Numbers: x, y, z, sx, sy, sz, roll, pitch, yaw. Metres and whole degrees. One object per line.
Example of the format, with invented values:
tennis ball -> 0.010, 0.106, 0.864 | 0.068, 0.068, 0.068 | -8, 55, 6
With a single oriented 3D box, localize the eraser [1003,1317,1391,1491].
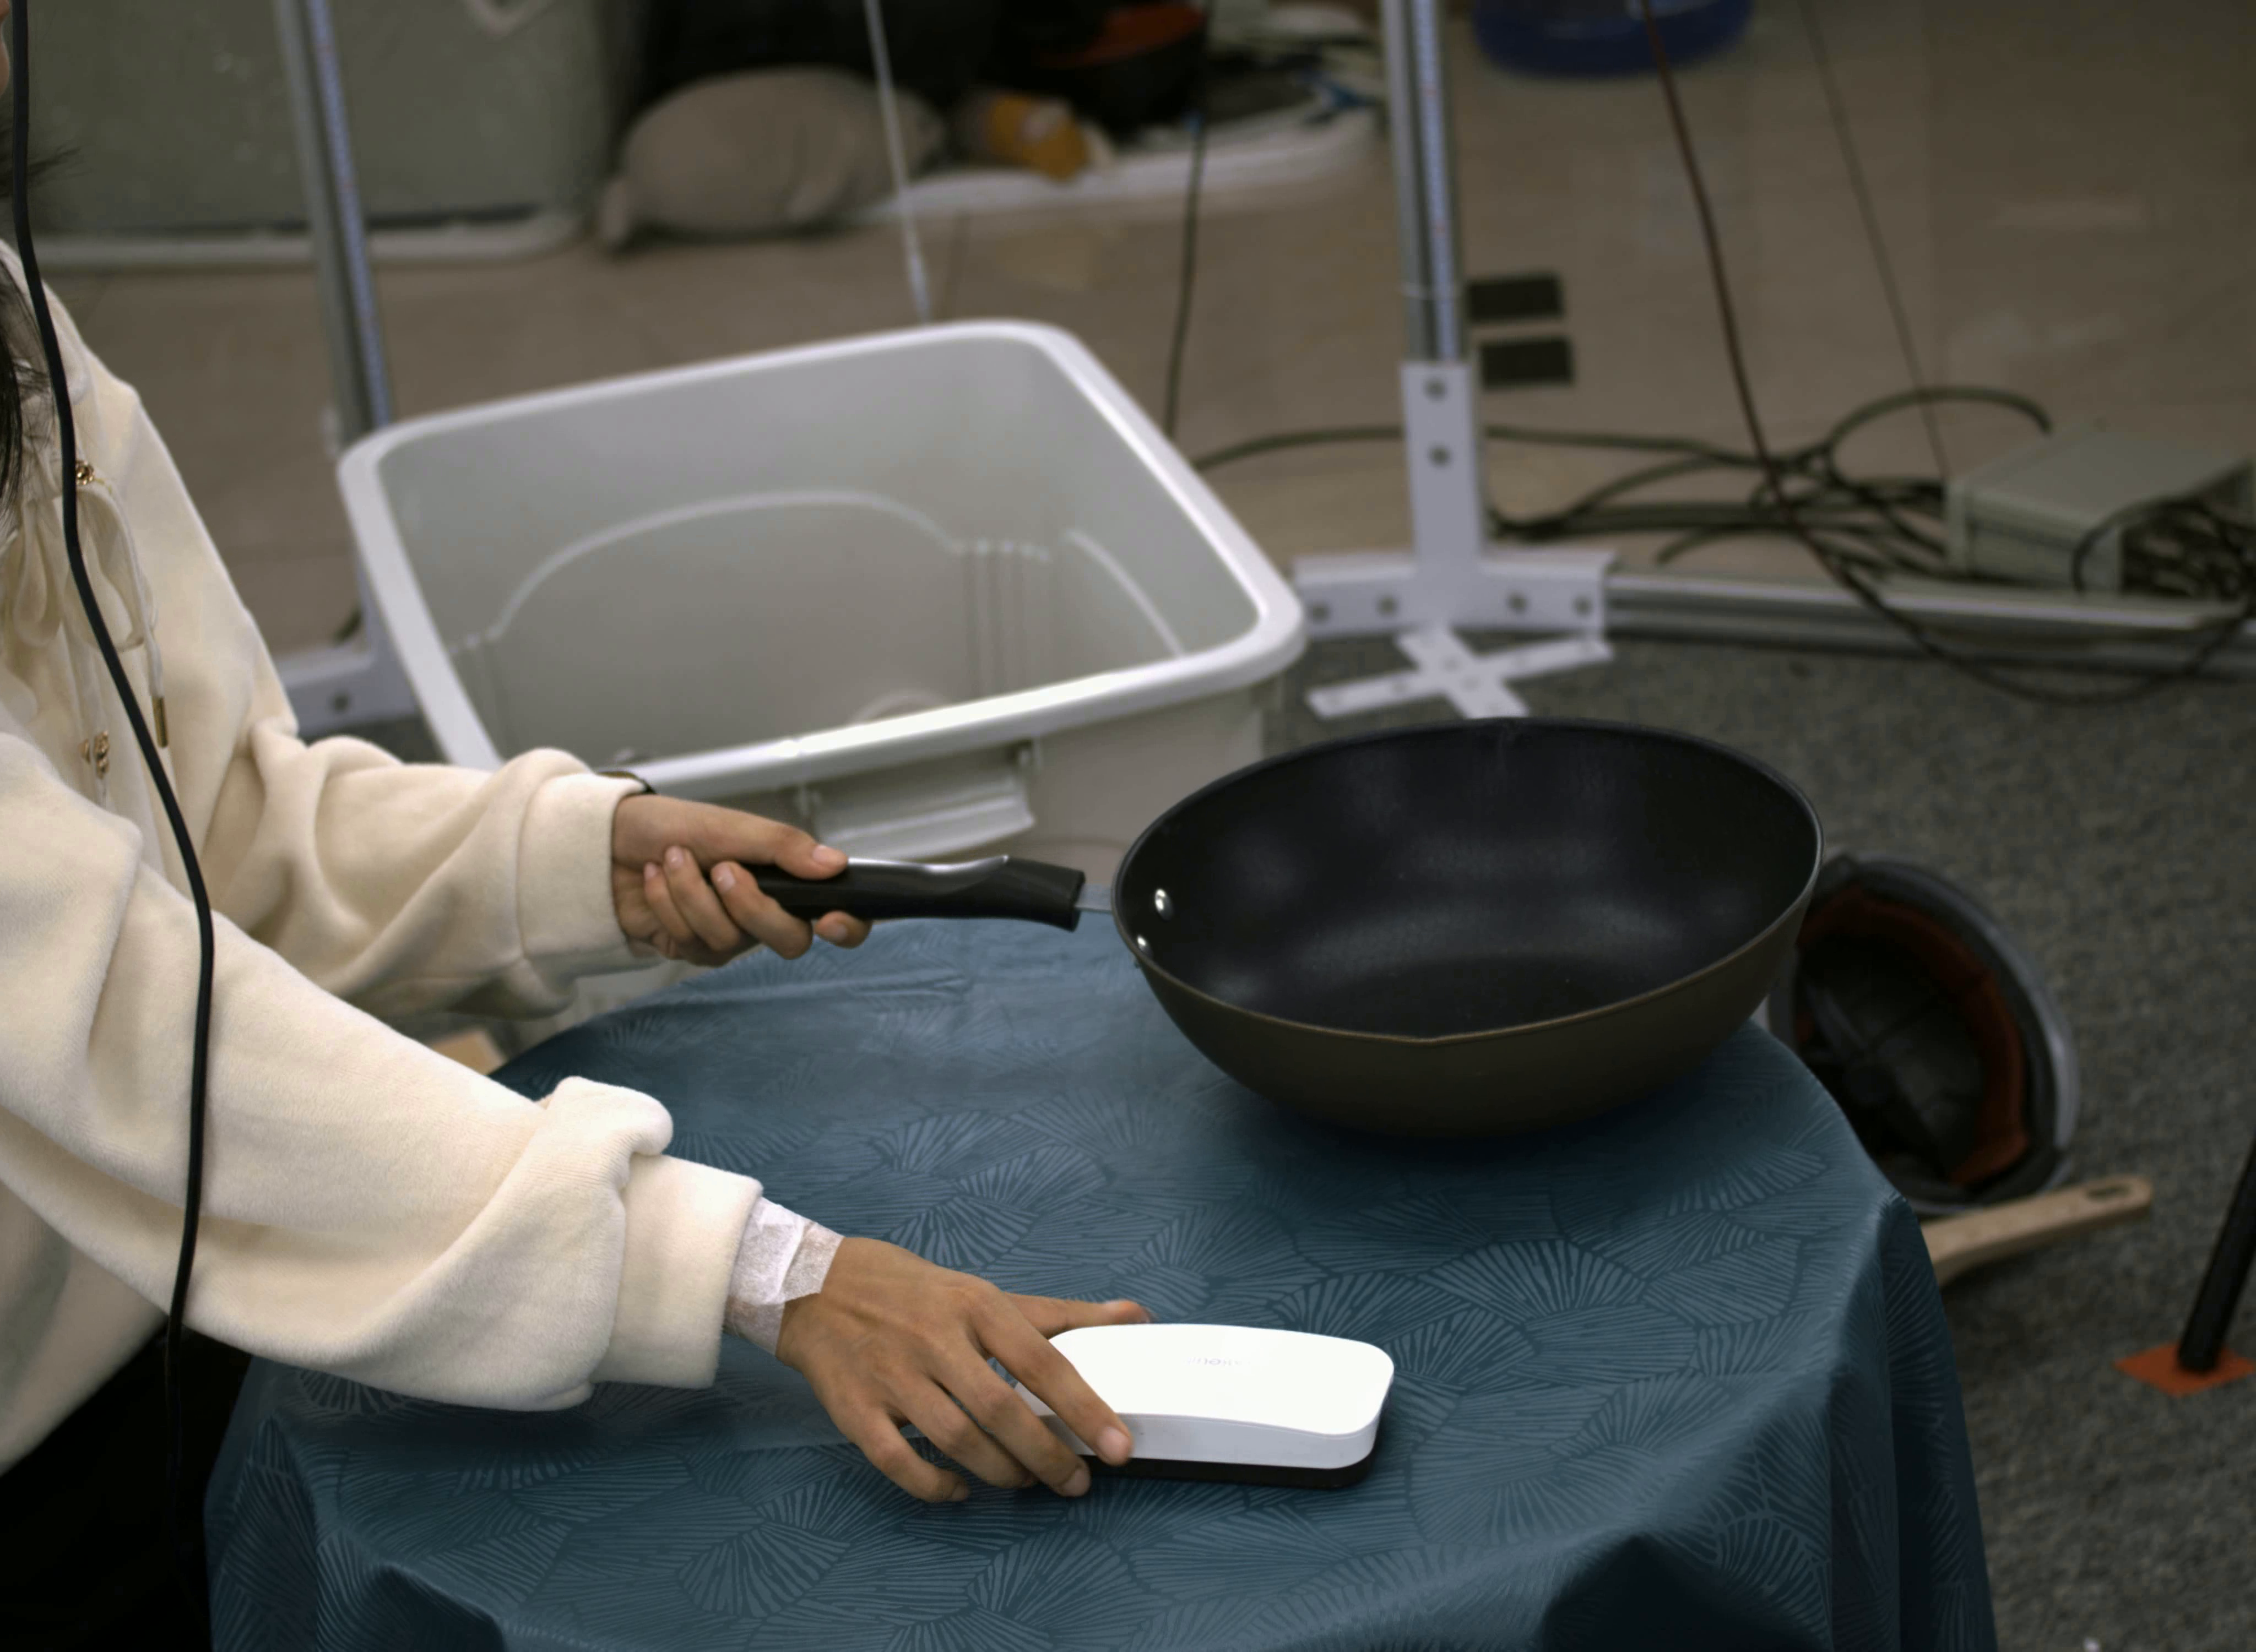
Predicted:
eraser -> 0.025, 0.201, 1.973 | 0.131, 0.035, 0.062 | 2, 24, 16

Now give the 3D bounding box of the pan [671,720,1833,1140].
pan -> 0.047, 0.051, 2.224 | 0.462, 0.088, 0.284 | -2, 25, 12
